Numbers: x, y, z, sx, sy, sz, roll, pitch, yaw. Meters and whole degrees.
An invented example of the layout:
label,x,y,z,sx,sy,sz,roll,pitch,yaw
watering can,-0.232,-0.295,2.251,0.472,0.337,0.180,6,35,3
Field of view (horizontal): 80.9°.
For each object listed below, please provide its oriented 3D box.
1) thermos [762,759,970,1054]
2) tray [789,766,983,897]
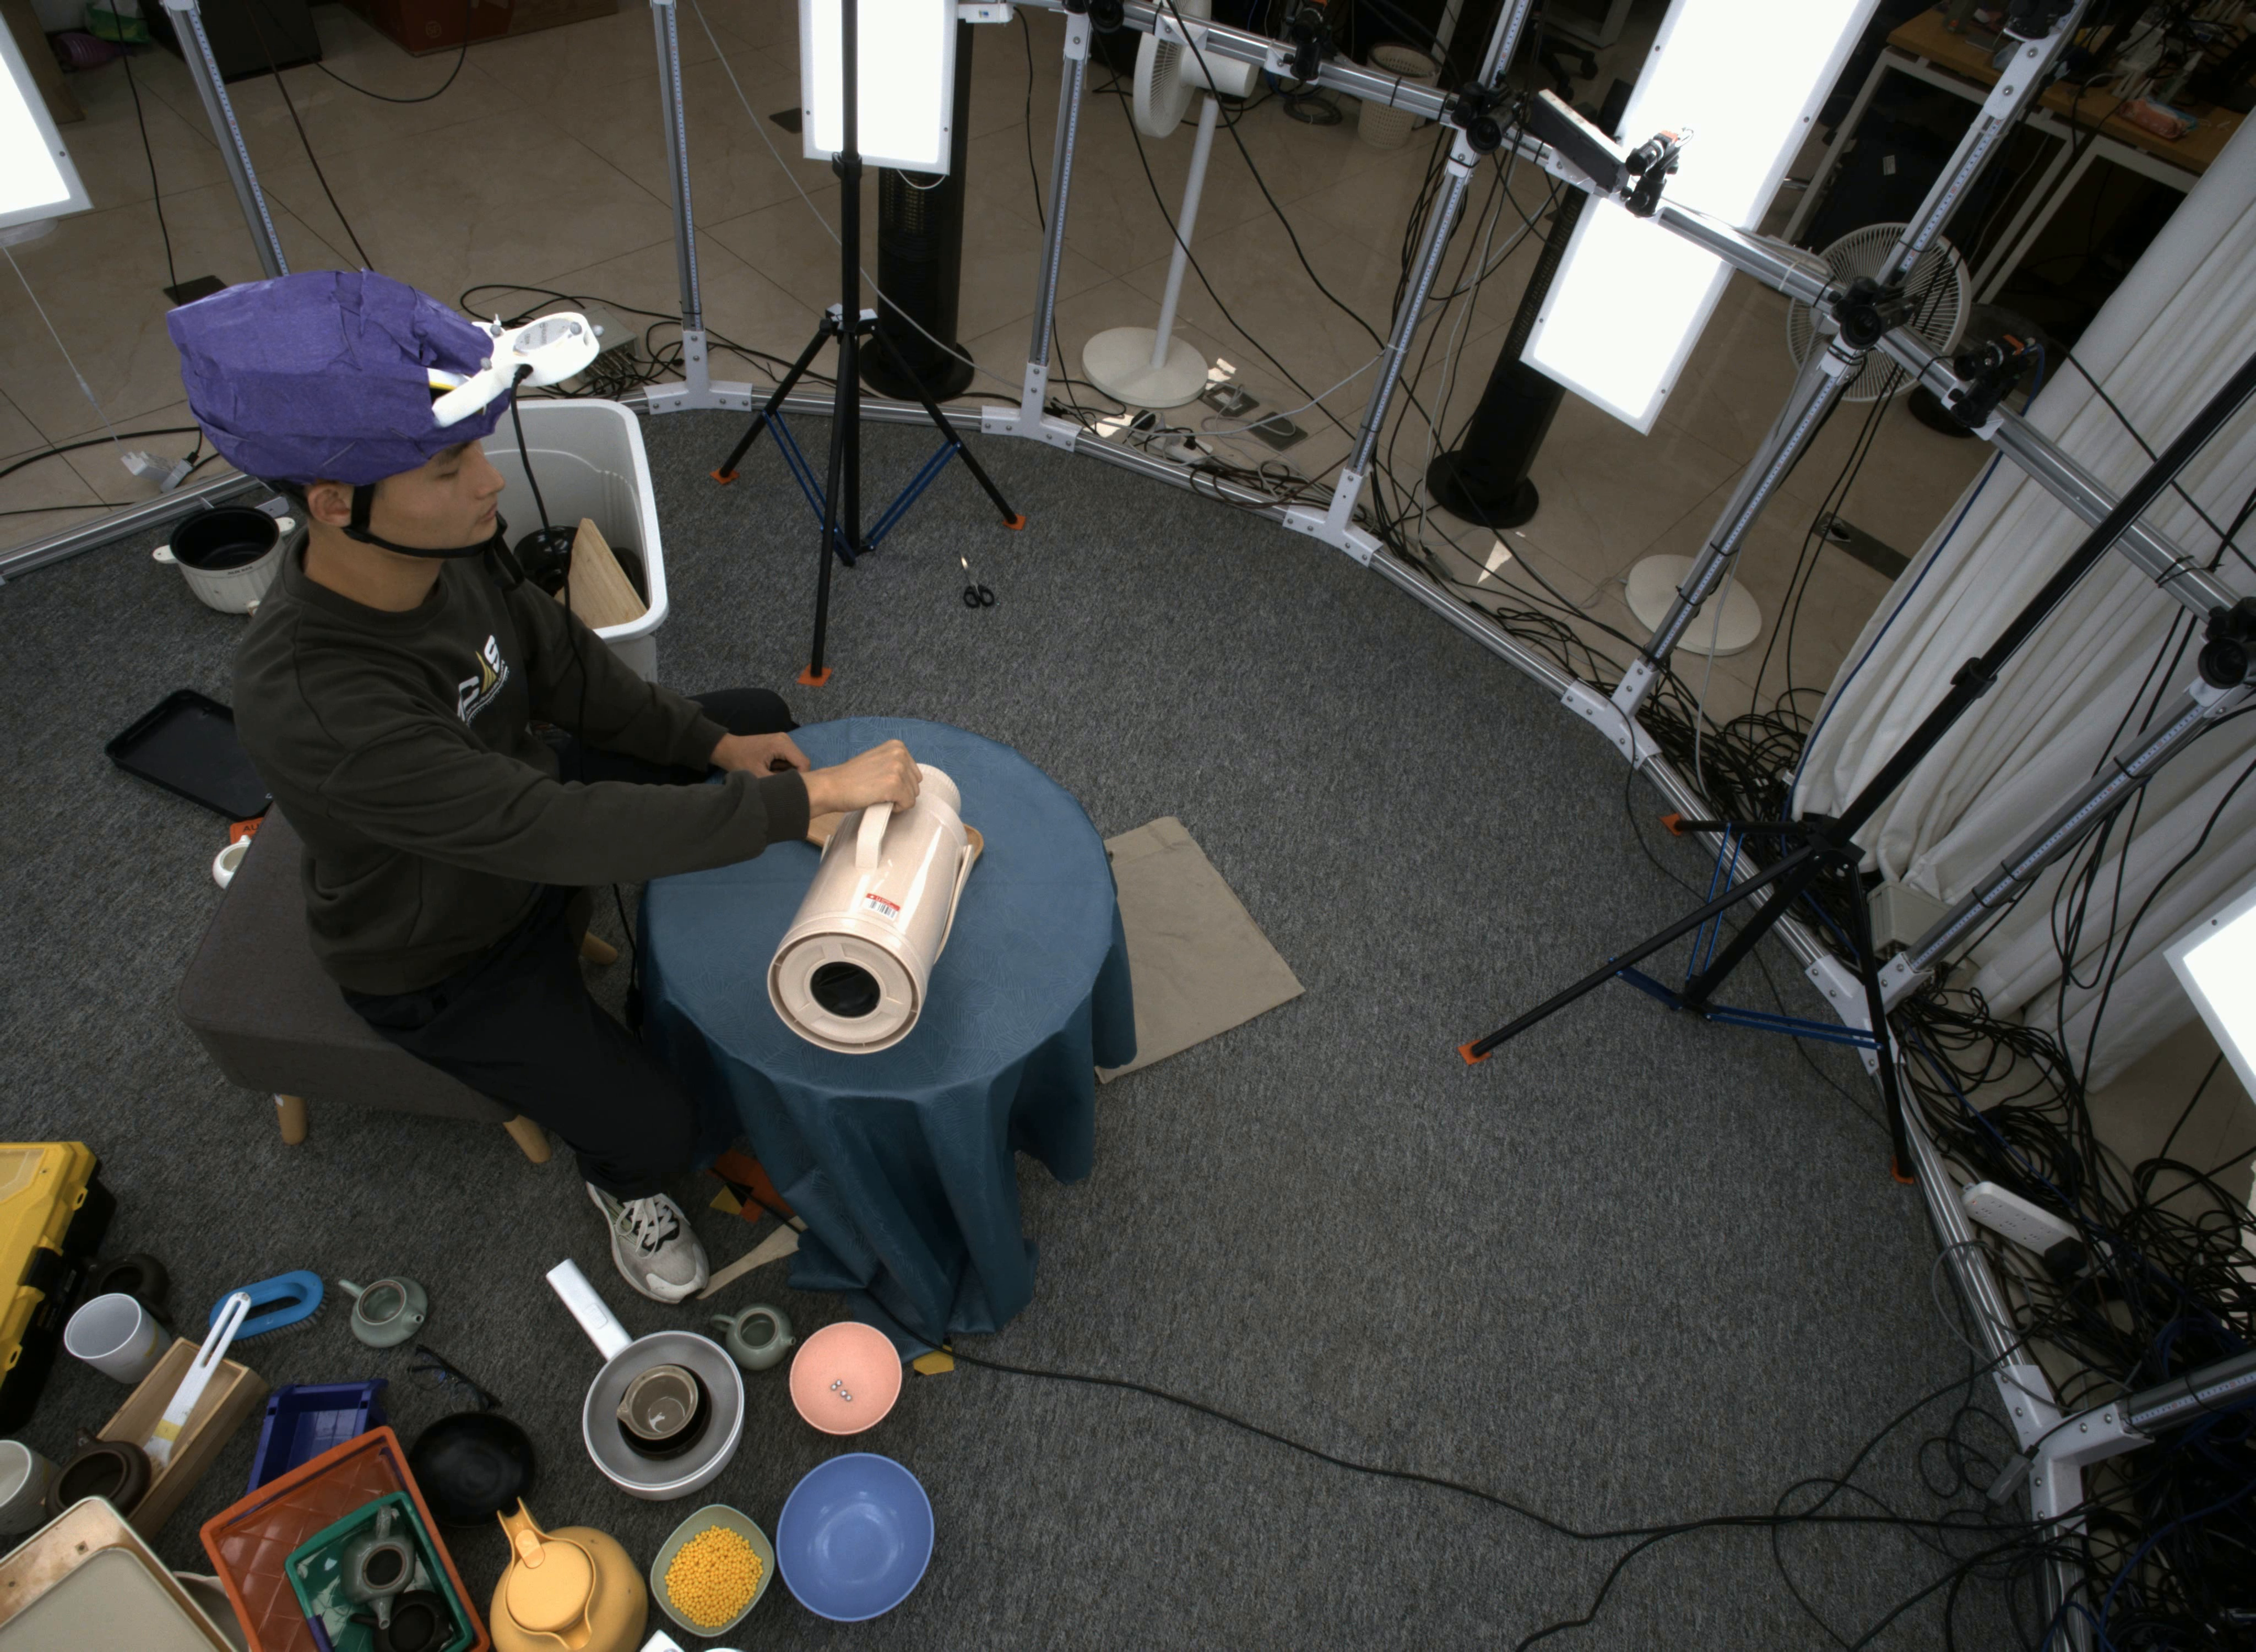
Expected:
label,x,y,z,sx,sy,sz,roll,pitch,yaw
thermos,-0.281,0.054,1.470,0.173,0.213,0.399,5,32,3
tray,-0.323,0.008,1.743,0.247,0.023,0.130,25,50,7
